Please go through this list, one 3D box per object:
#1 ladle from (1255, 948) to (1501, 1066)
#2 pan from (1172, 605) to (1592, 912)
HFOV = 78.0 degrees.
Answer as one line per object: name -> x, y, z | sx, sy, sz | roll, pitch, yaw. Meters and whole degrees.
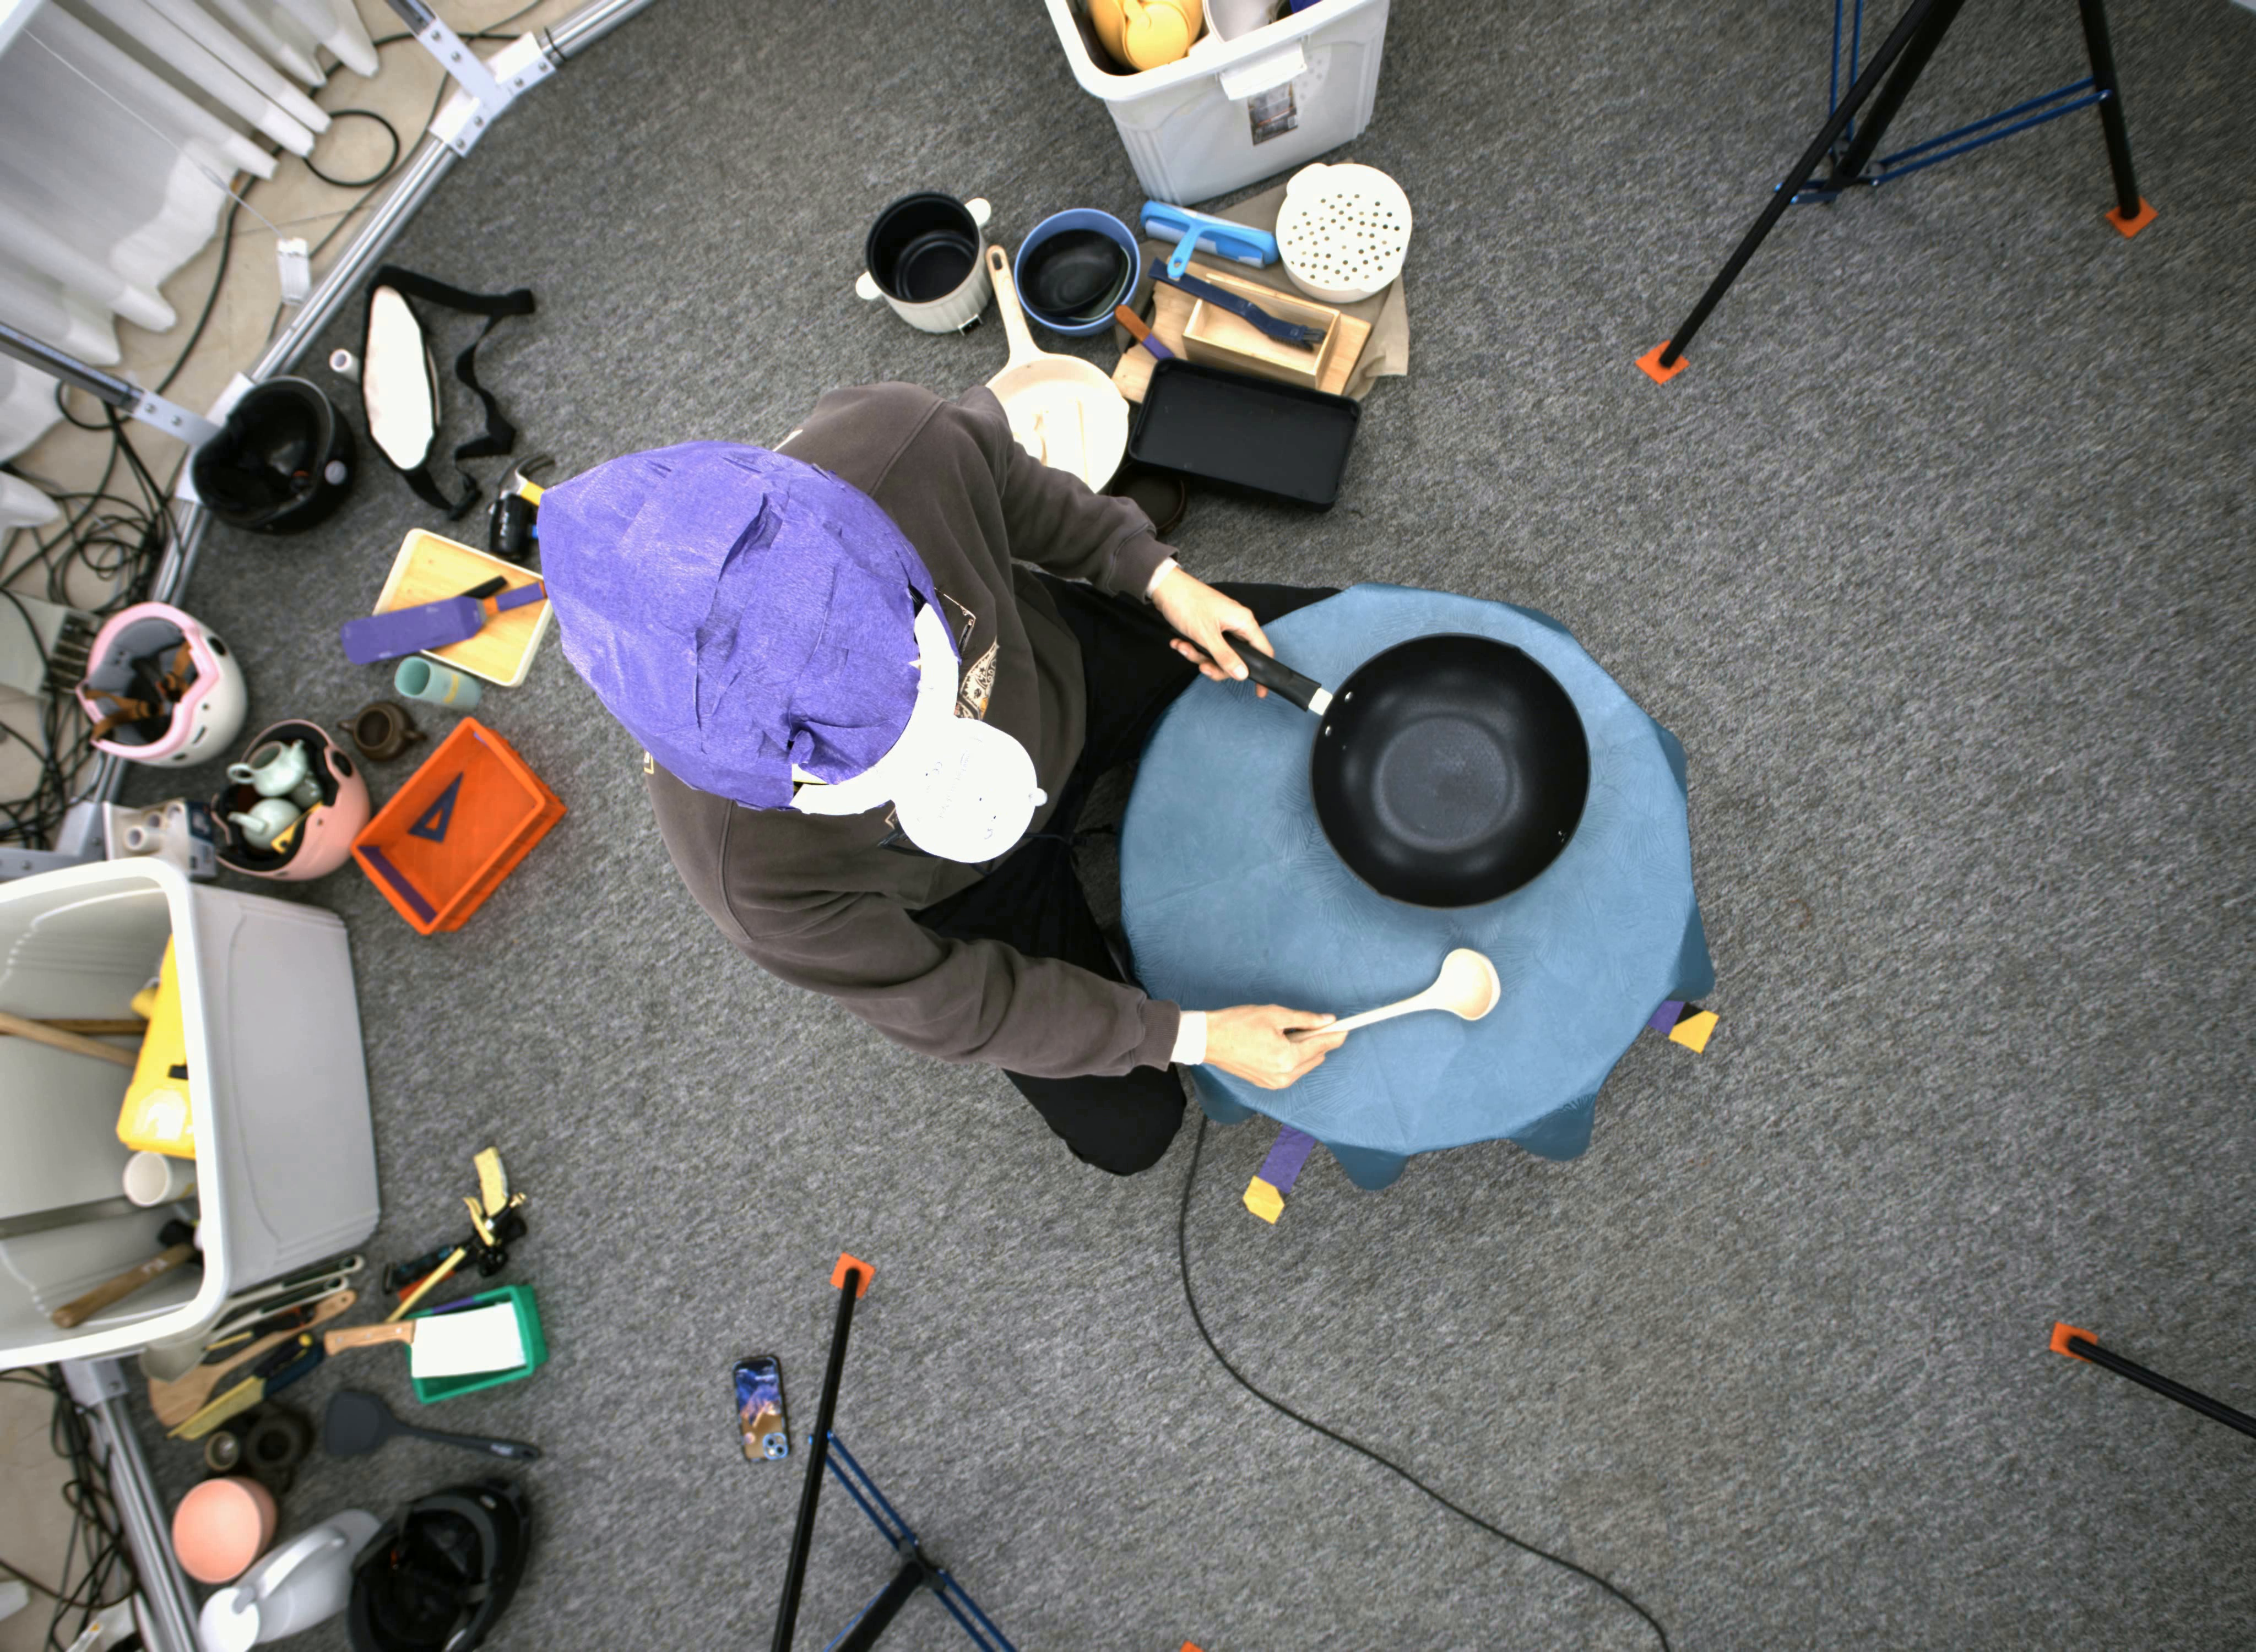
ladle -> 0.251, 0.188, 1.388 | 0.254, 0.073, 0.071 | -19, 78, -4
pan -> 0.248, -0.098, 1.427 | 0.462, 0.087, 0.289 | 30, 93, 11
